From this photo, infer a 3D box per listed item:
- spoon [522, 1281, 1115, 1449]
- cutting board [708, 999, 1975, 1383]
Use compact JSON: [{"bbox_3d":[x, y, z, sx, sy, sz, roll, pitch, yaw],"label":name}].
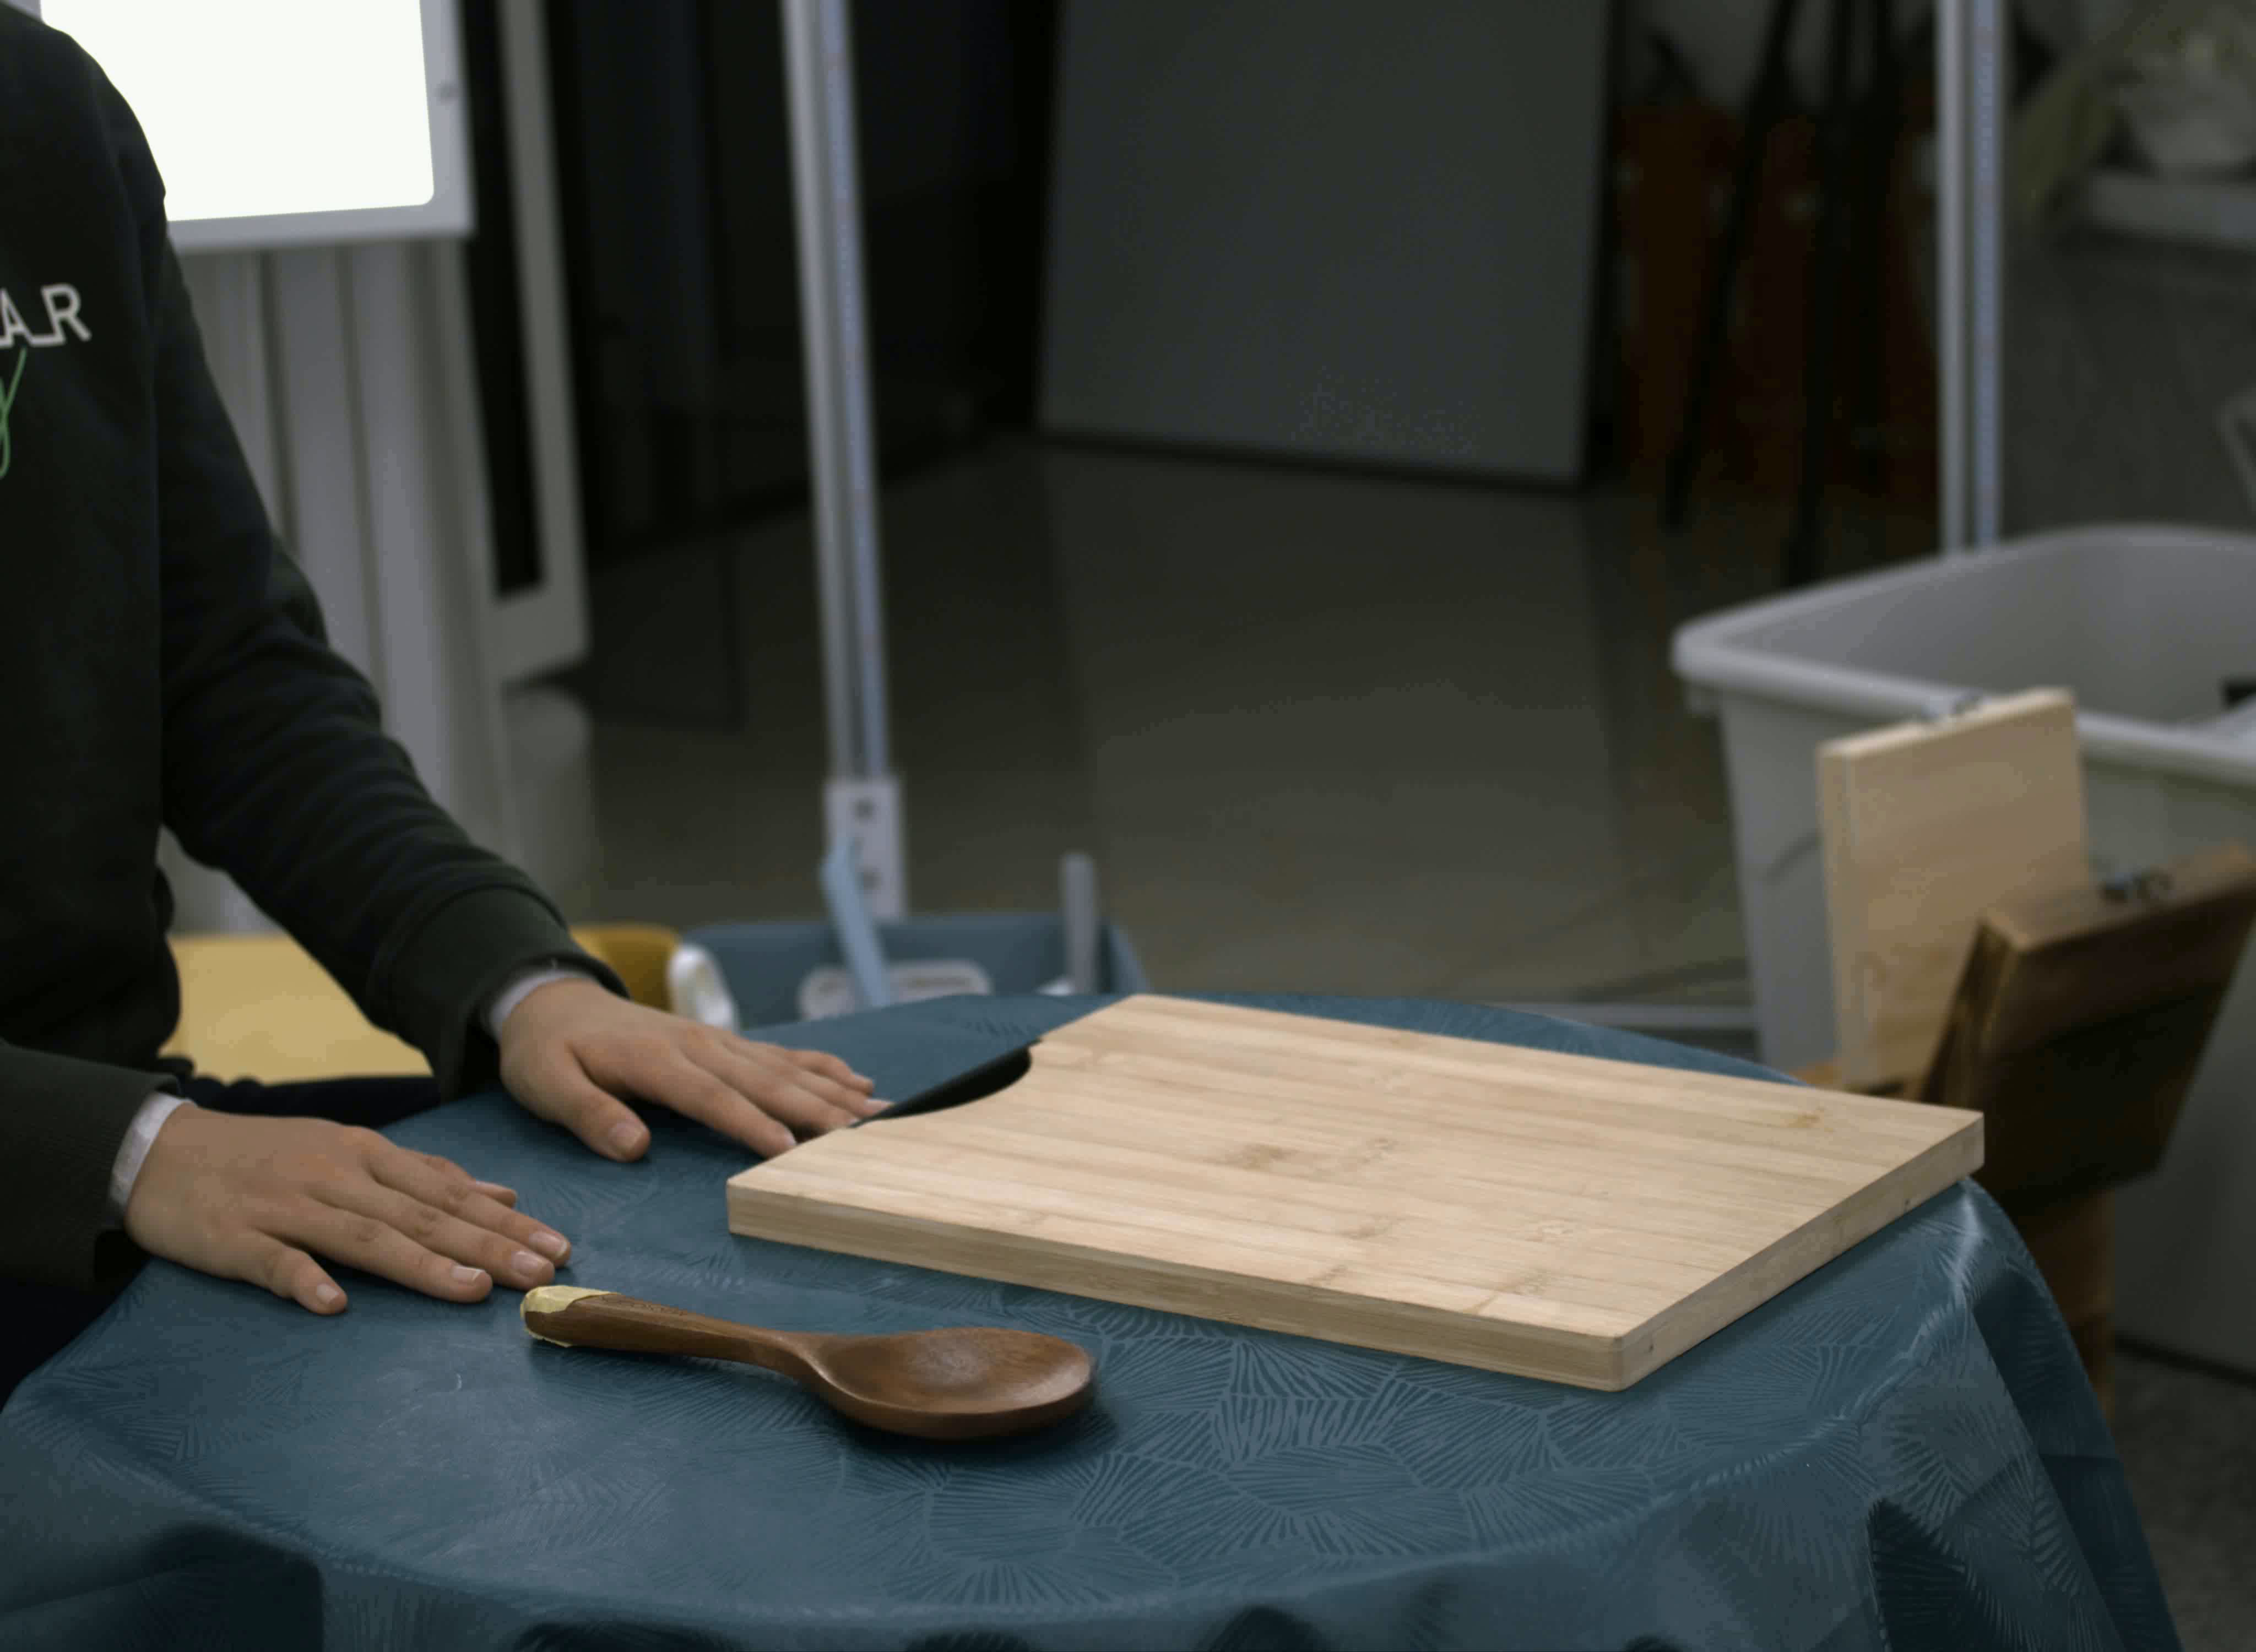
[{"bbox_3d":[-0.096,0.159,1.609,0.217,0.017,0.074,7,19,36],"label":"spoon"},{"bbox_3d":[0.069,0.113,1.750,0.351,0.024,0.246,6,16,35],"label":"cutting board"}]
